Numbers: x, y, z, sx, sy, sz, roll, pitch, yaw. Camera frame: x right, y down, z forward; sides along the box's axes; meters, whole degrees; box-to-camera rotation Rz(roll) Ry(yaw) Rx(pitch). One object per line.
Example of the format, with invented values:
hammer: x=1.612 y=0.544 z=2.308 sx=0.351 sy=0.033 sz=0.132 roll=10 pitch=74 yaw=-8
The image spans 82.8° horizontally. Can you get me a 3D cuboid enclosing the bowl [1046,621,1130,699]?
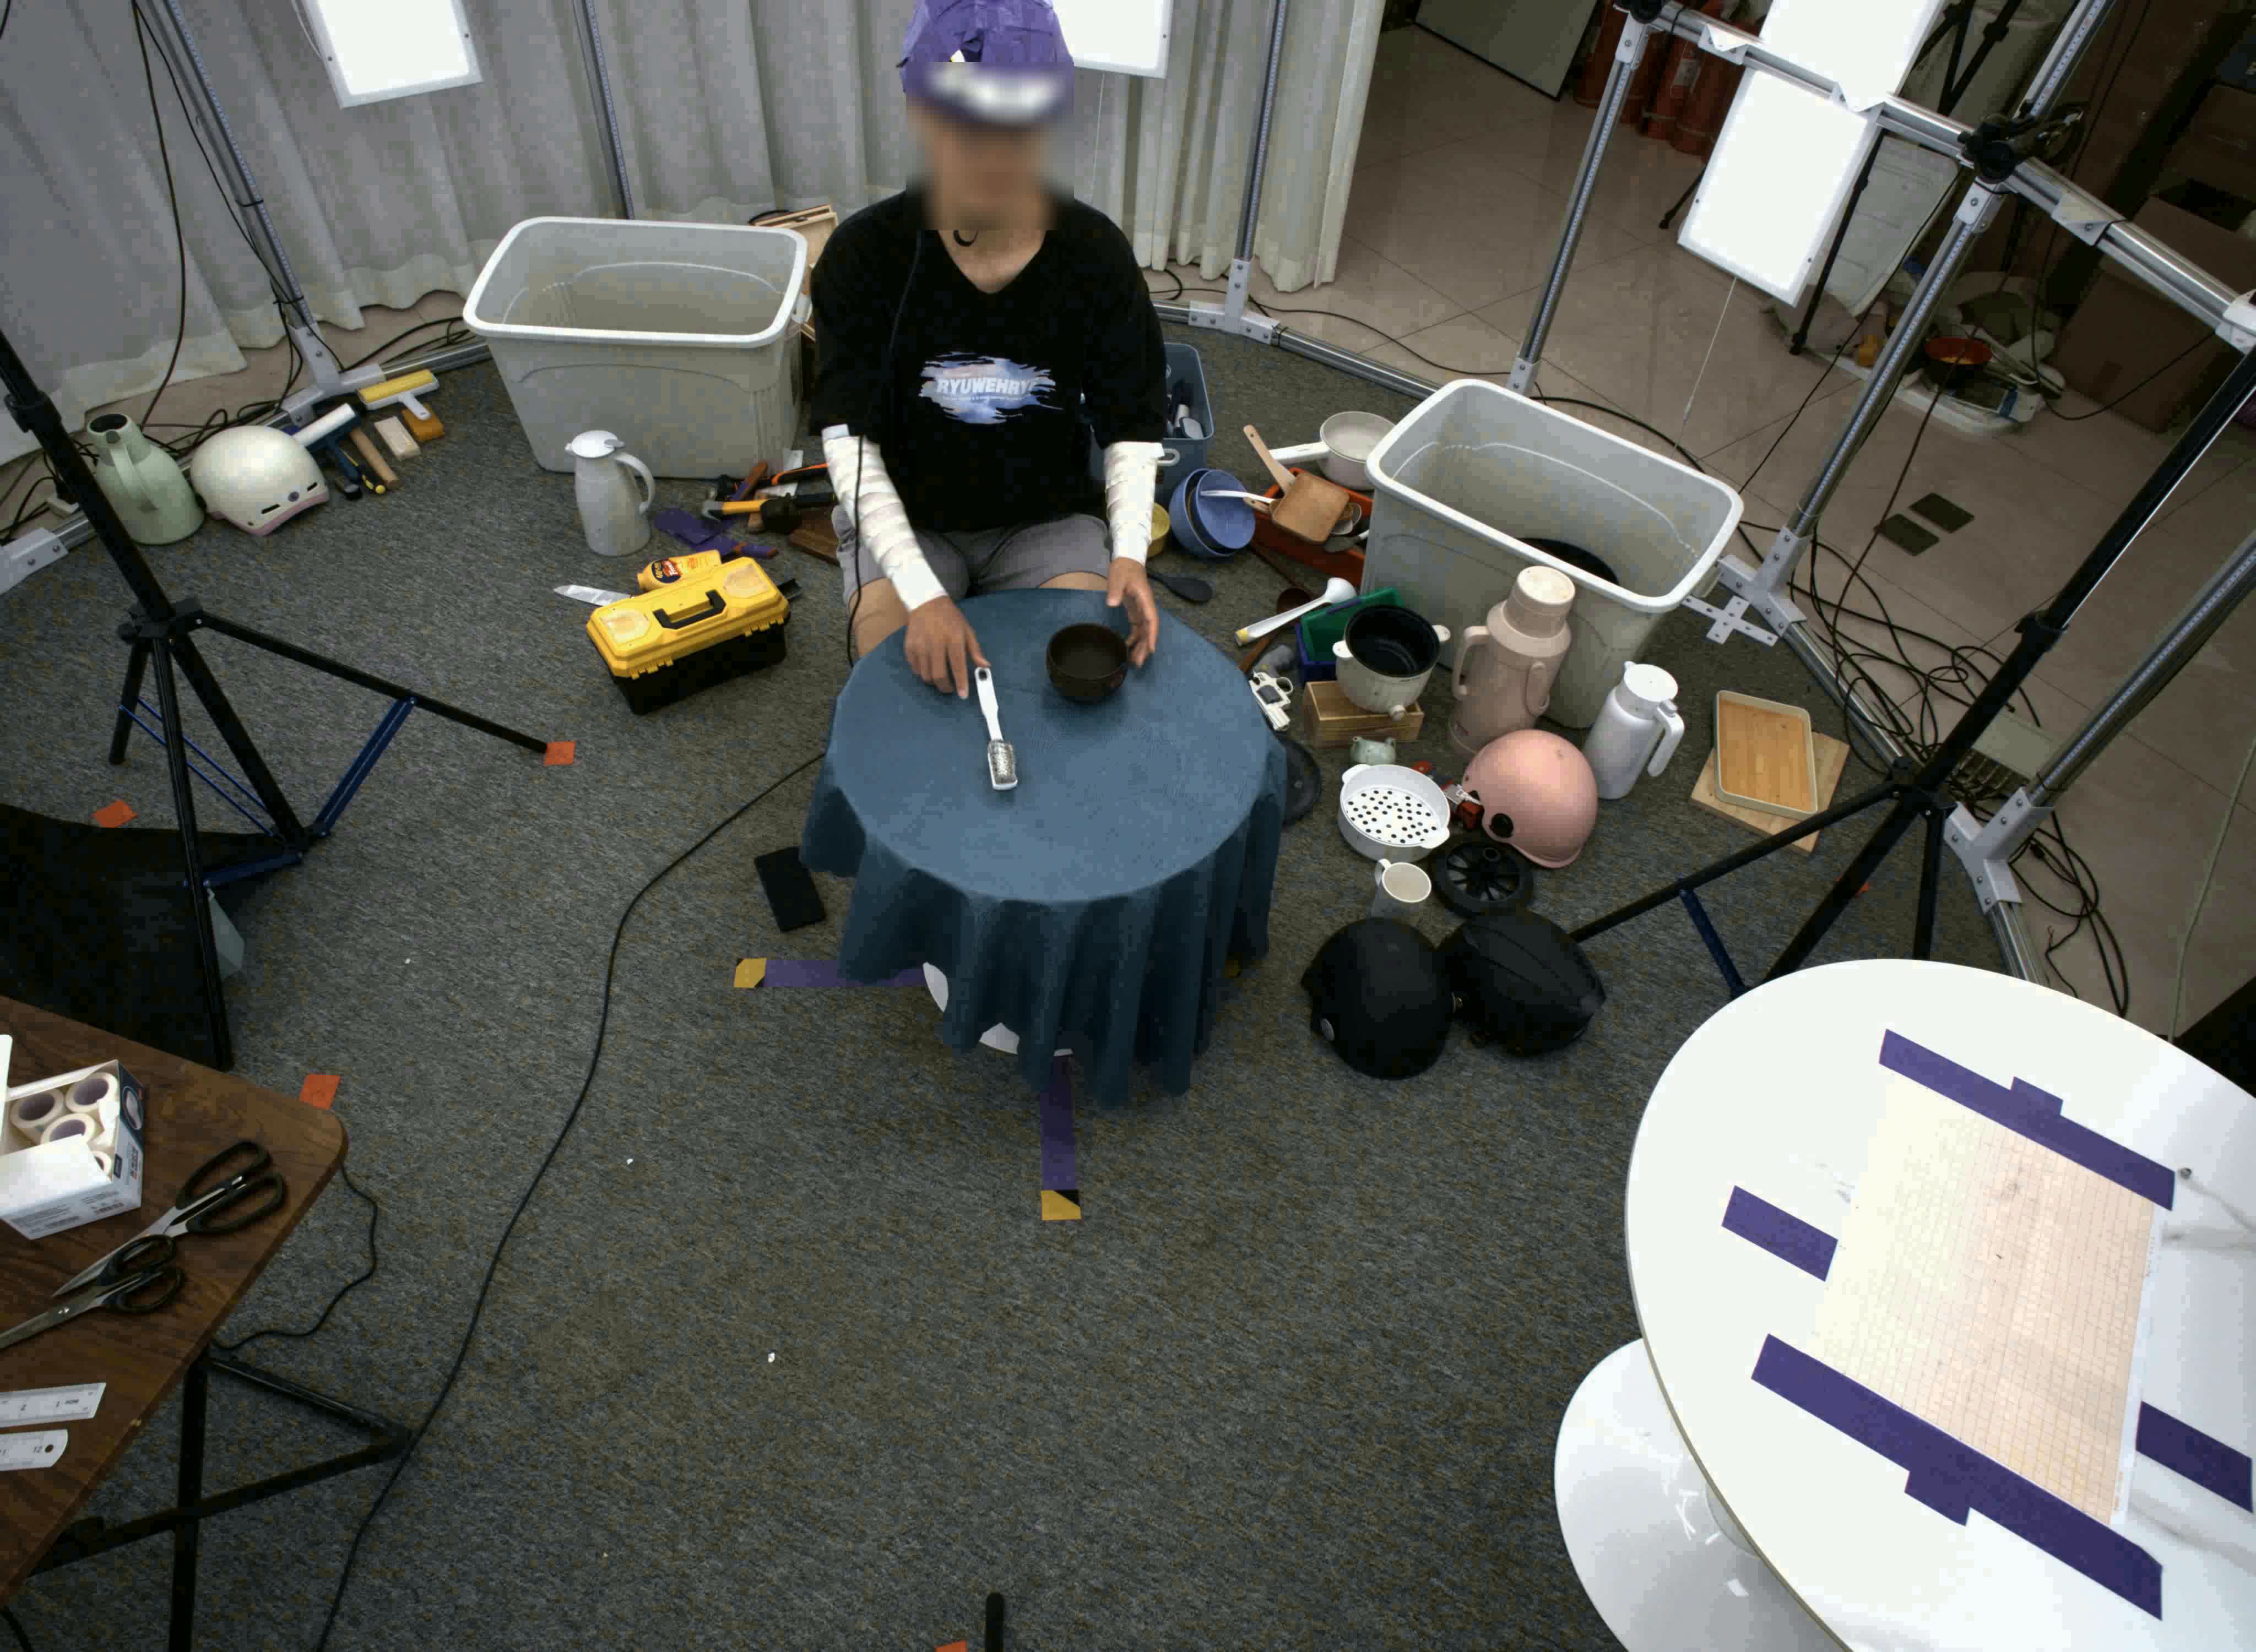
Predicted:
bowl: x=-0.057 y=-0.226 z=1.817 sx=0.118 sy=0.068 sz=0.121 roll=1 pitch=48 yaw=-1

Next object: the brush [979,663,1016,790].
brush: x=-0.182 y=-0.149 z=1.759 sx=0.034 sy=0.049 sz=0.250 roll=-5 pitch=51 yaw=-9
